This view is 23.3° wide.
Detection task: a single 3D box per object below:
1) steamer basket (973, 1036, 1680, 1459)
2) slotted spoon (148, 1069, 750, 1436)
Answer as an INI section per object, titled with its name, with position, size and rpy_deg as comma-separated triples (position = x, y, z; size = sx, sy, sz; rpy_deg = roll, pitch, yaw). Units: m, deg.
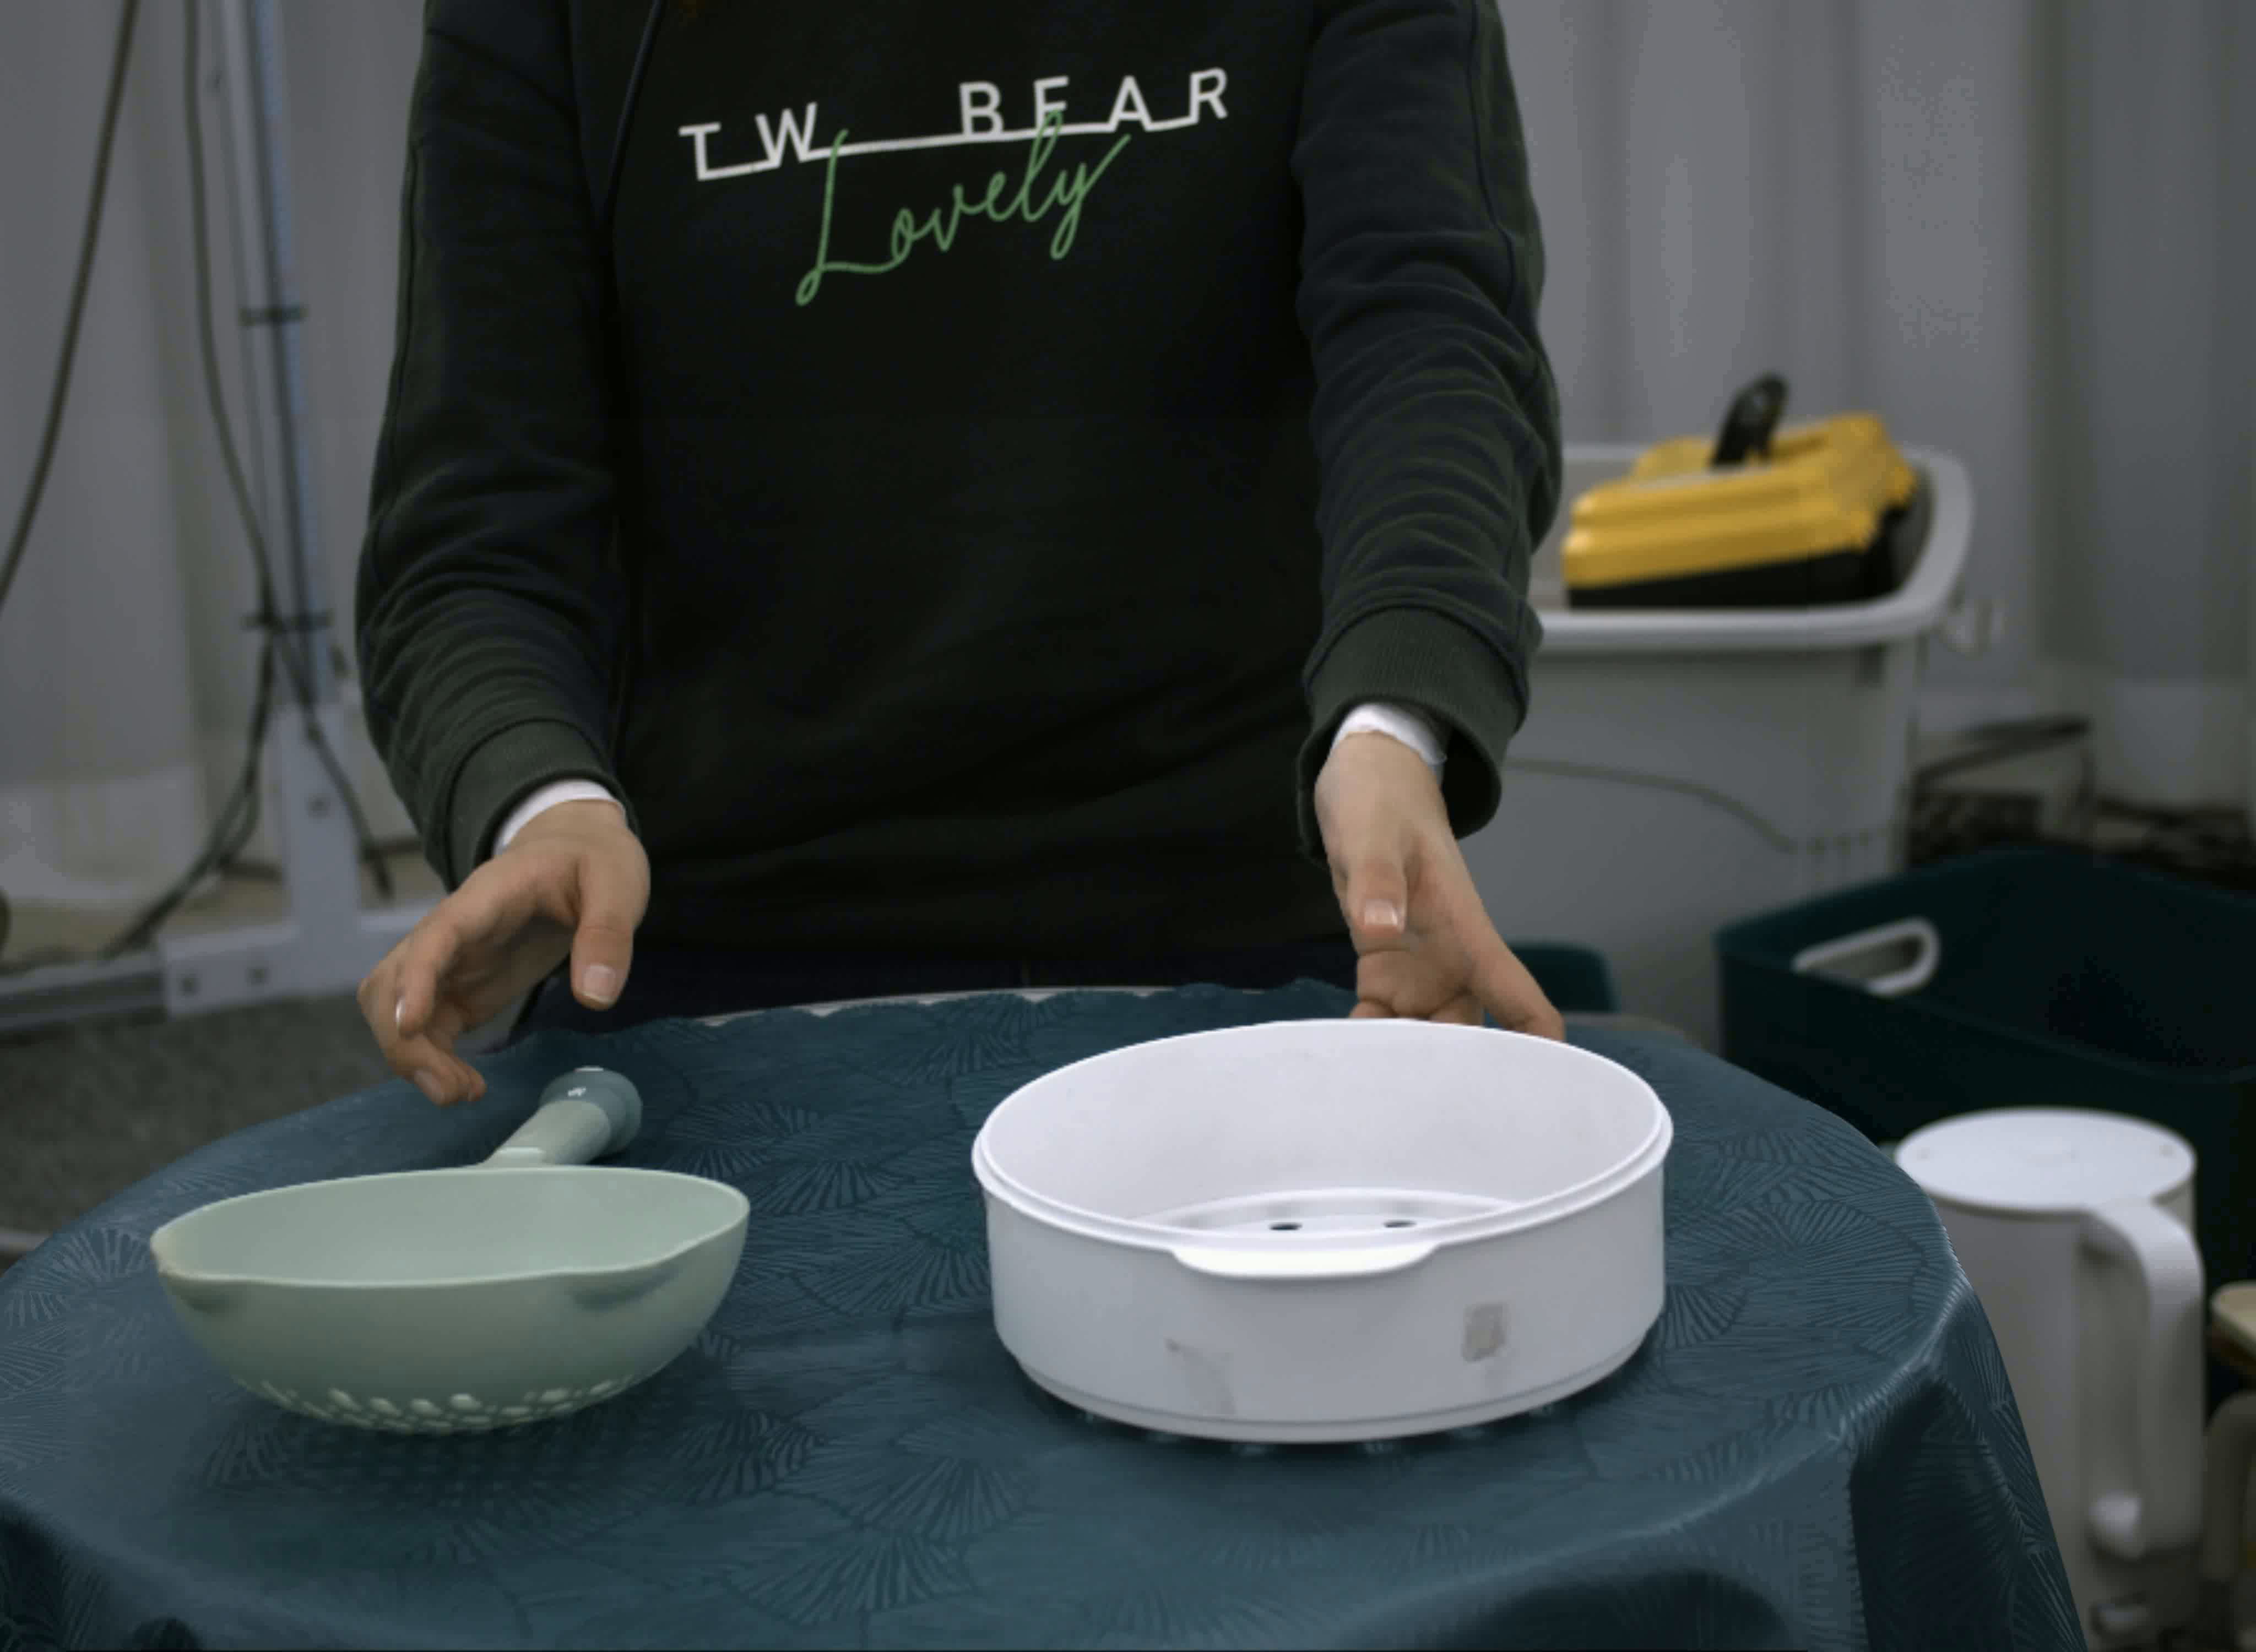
[steamer basket]
position = 0.057, 0.120, 1.563
size = 0.201, 0.069, 0.232
rpy_deg = -1, 14, 4
[slotted spoon]
position = -0.183, 0.112, 1.637
size = 0.169, 0.075, 0.361
rpy_deg = -1, 15, 4
